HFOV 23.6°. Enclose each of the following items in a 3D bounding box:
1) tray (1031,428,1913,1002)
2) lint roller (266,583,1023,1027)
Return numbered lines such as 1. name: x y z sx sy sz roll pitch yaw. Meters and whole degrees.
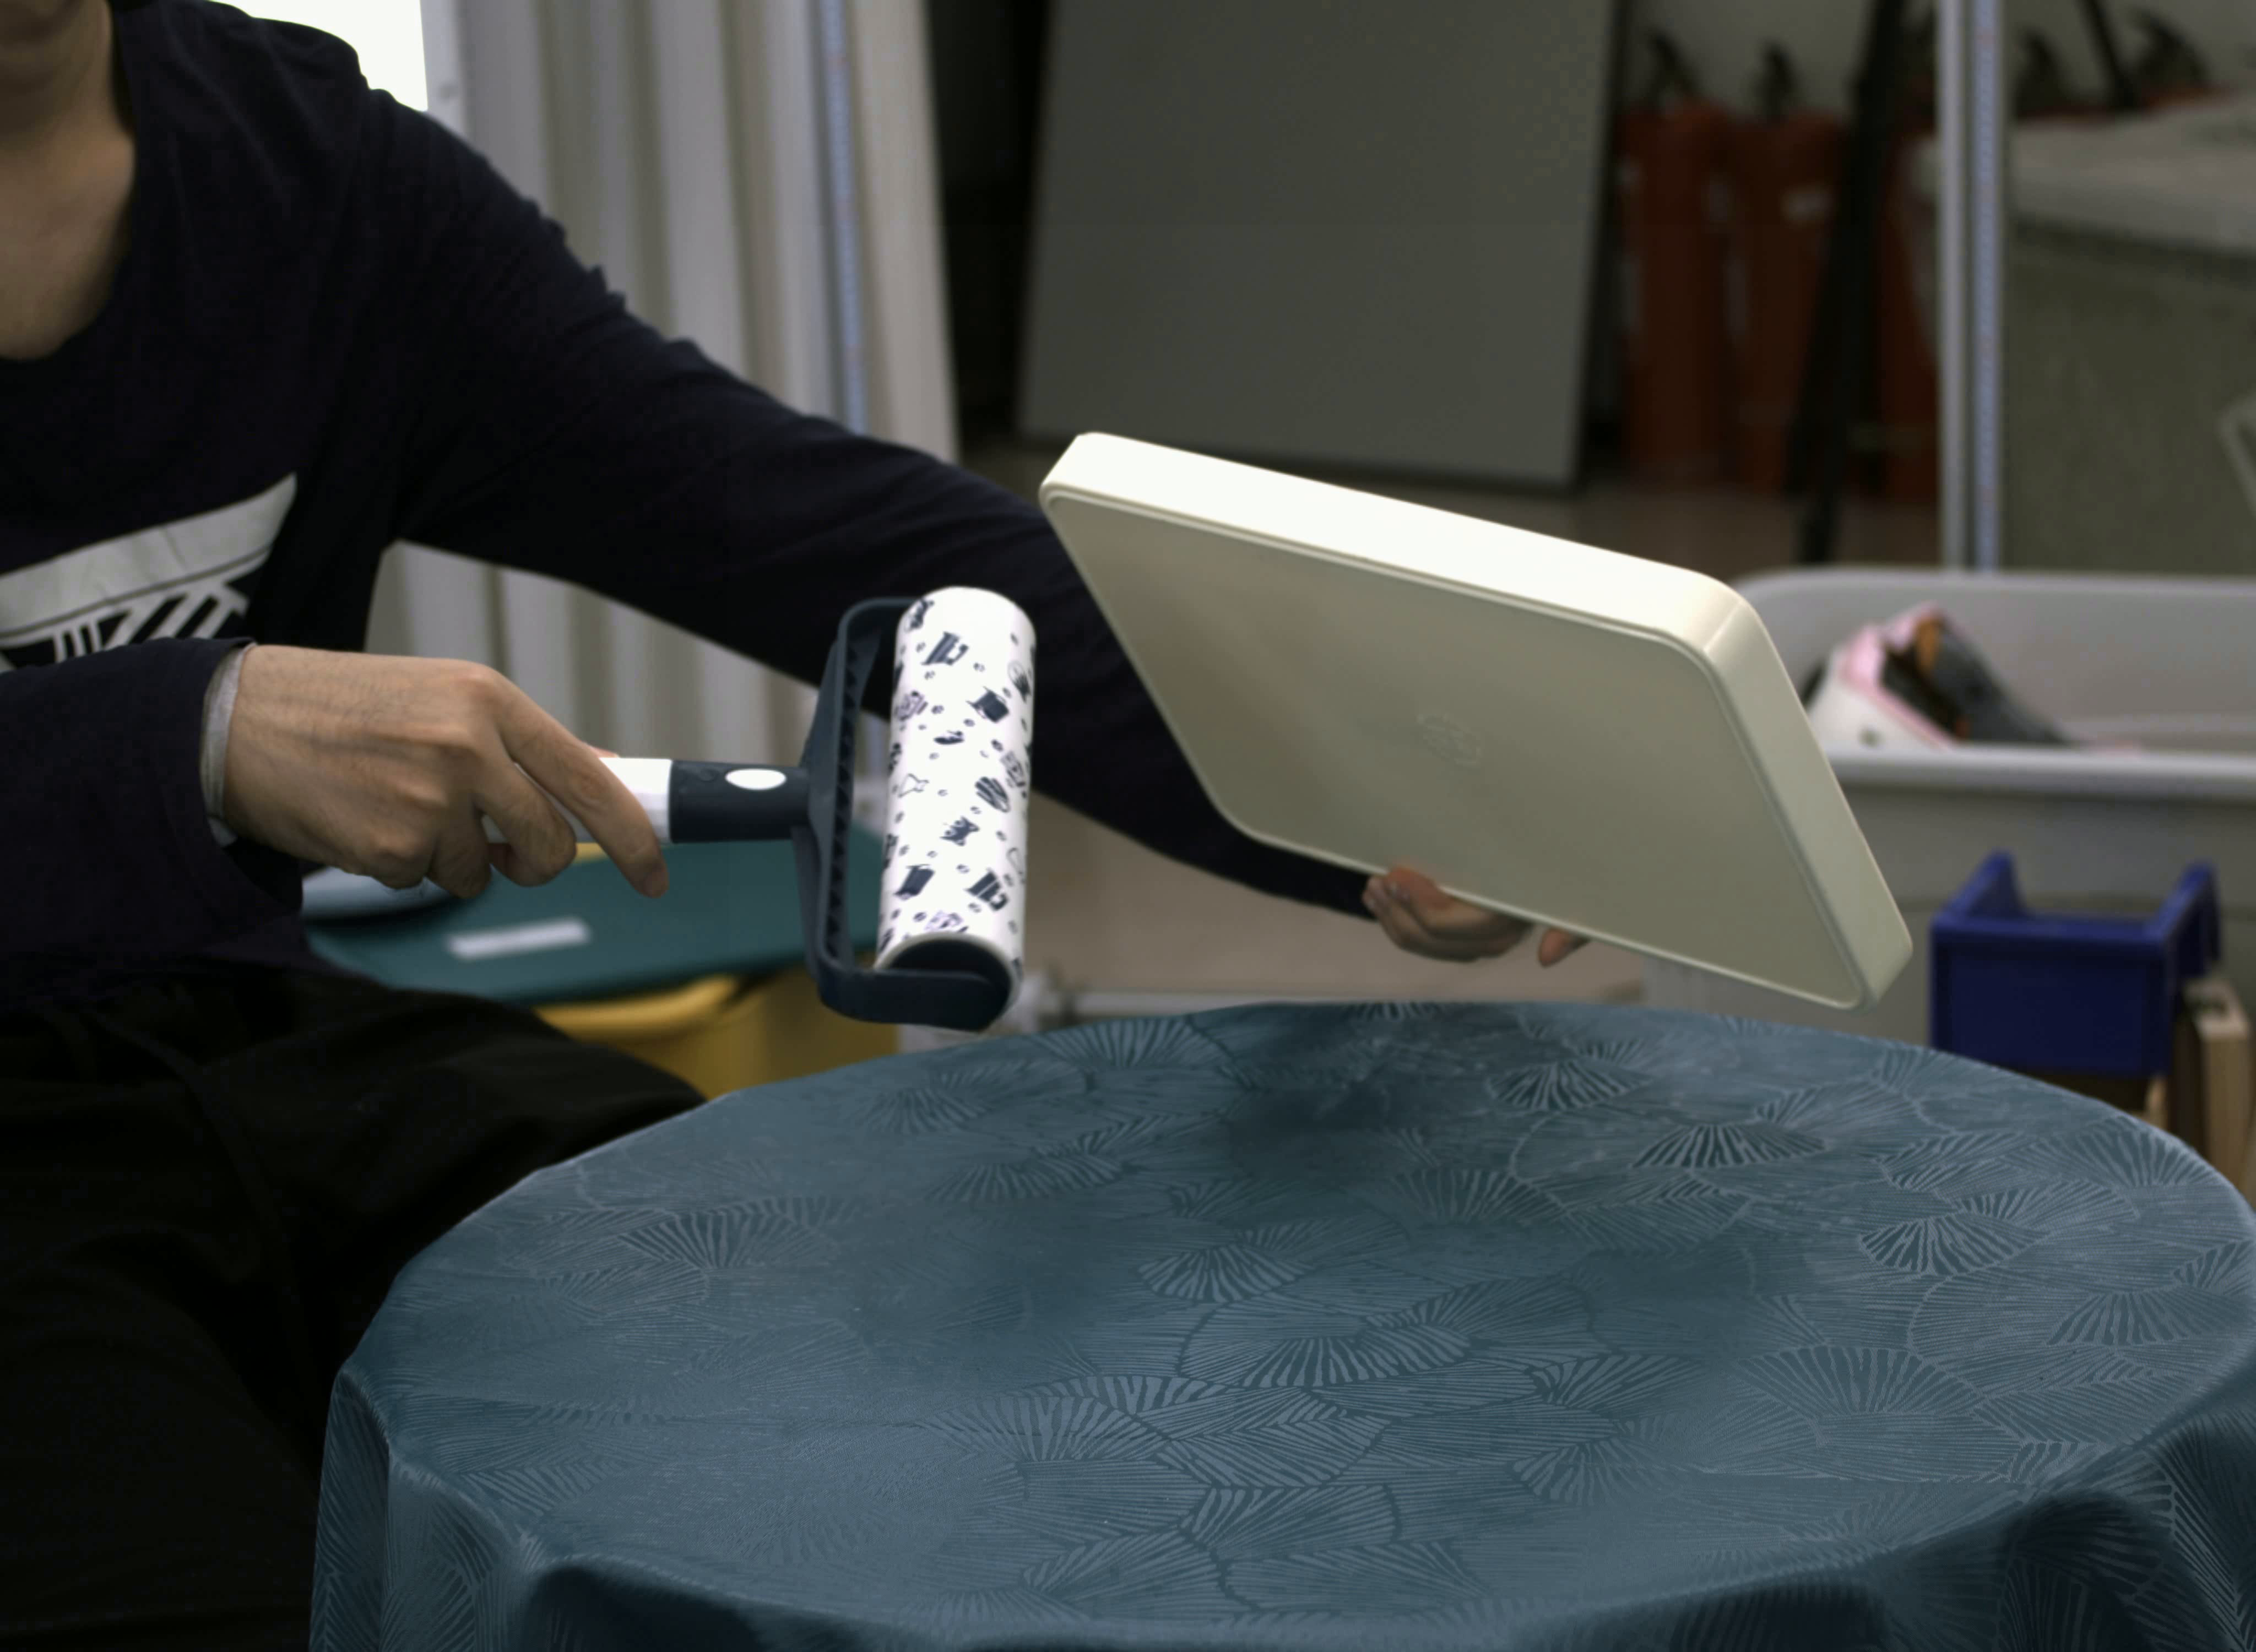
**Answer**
1. tray: 0.111 -0.038 1.802 0.303 0.190 0.027 16 60 44
2. lint roller: -0.155 -0.008 1.744 0.244 0.050 0.177 0 44 0
